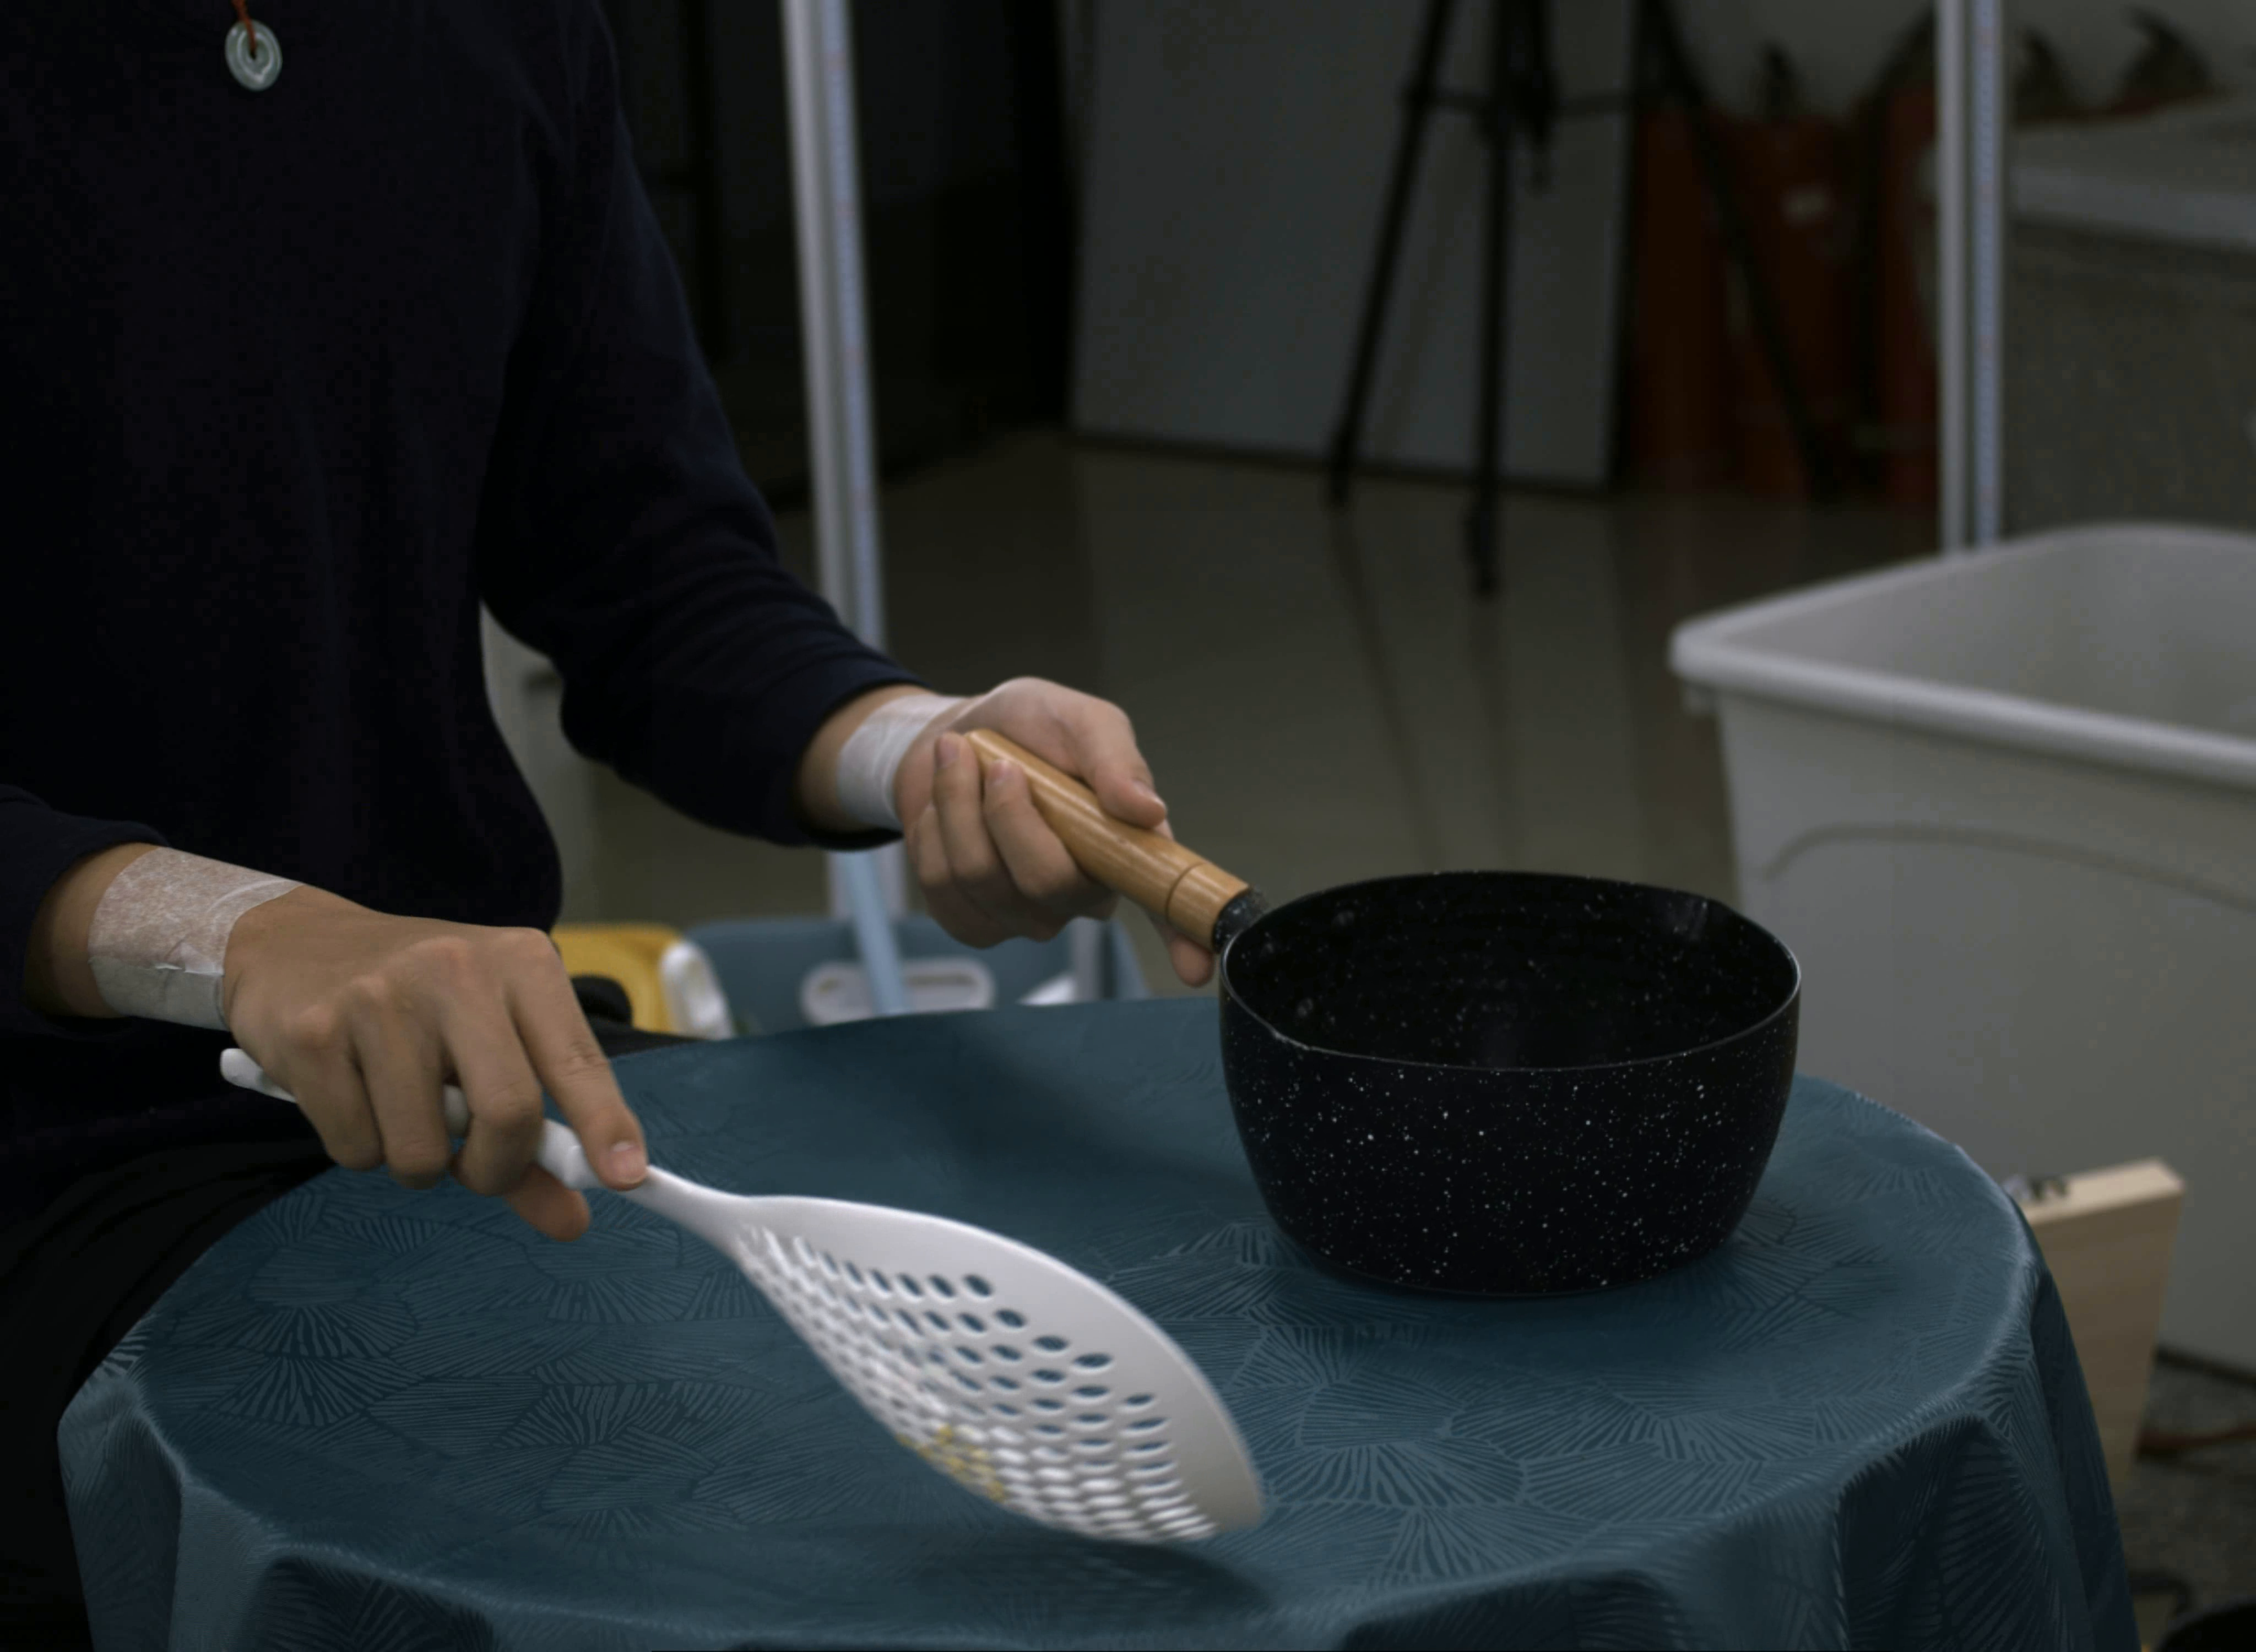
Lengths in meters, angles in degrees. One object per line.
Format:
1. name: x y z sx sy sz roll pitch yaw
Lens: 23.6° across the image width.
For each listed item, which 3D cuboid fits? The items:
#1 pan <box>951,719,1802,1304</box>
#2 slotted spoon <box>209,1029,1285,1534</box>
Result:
1. pan: 0.063 0.054 1.747 0.346 0.109 0.203 17 26 42
2. slotted spoon: -0.111 0.113 1.477 0.350 0.136 0.050 25 65 31
